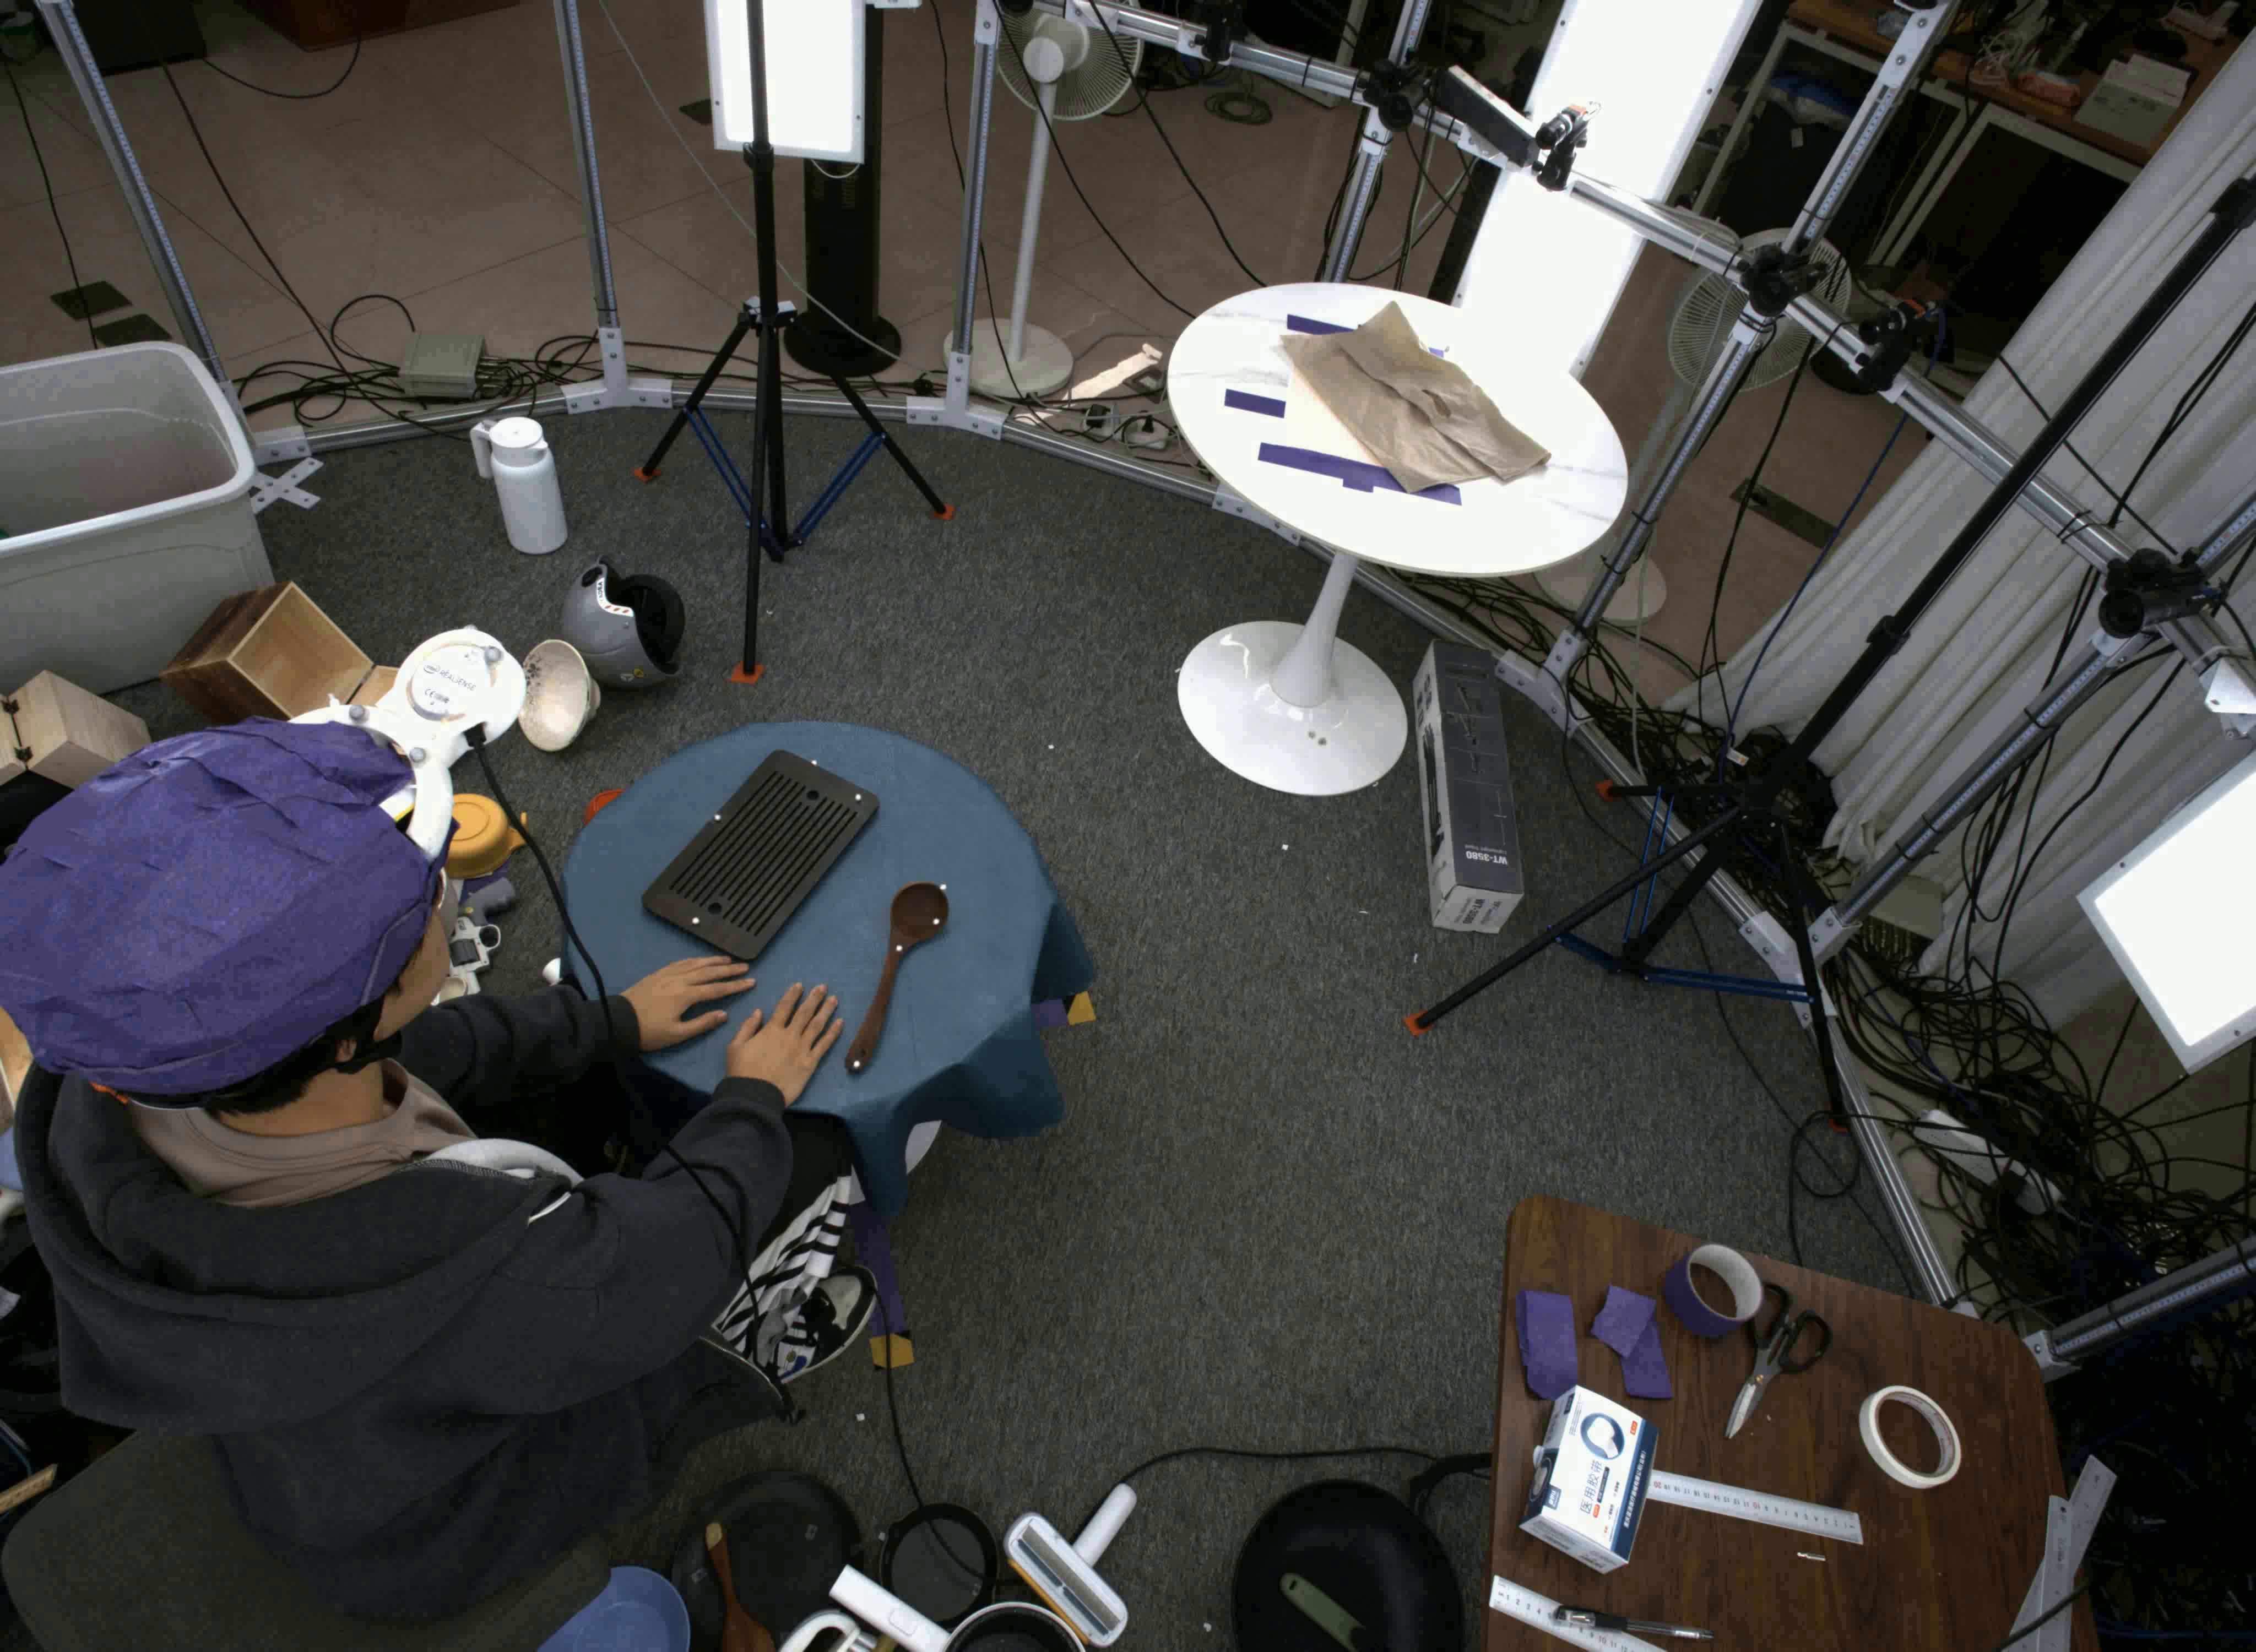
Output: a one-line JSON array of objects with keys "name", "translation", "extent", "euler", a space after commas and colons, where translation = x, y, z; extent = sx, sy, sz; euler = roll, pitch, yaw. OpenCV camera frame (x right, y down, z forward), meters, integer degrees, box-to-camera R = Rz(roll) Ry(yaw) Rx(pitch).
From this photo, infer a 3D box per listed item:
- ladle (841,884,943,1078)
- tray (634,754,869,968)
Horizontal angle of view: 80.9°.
[{"name": "ladle", "translation": [-0.291, 0.182, 1.587], "extent": [0.078, 0.064, 0.257], "euler": [33, 48, -22]}, {"name": "tray", "translation": [-0.482, 0.038, 1.674], "extent": [0.168, 0.019, 0.304], "euler": [27, 52, 6]}]
